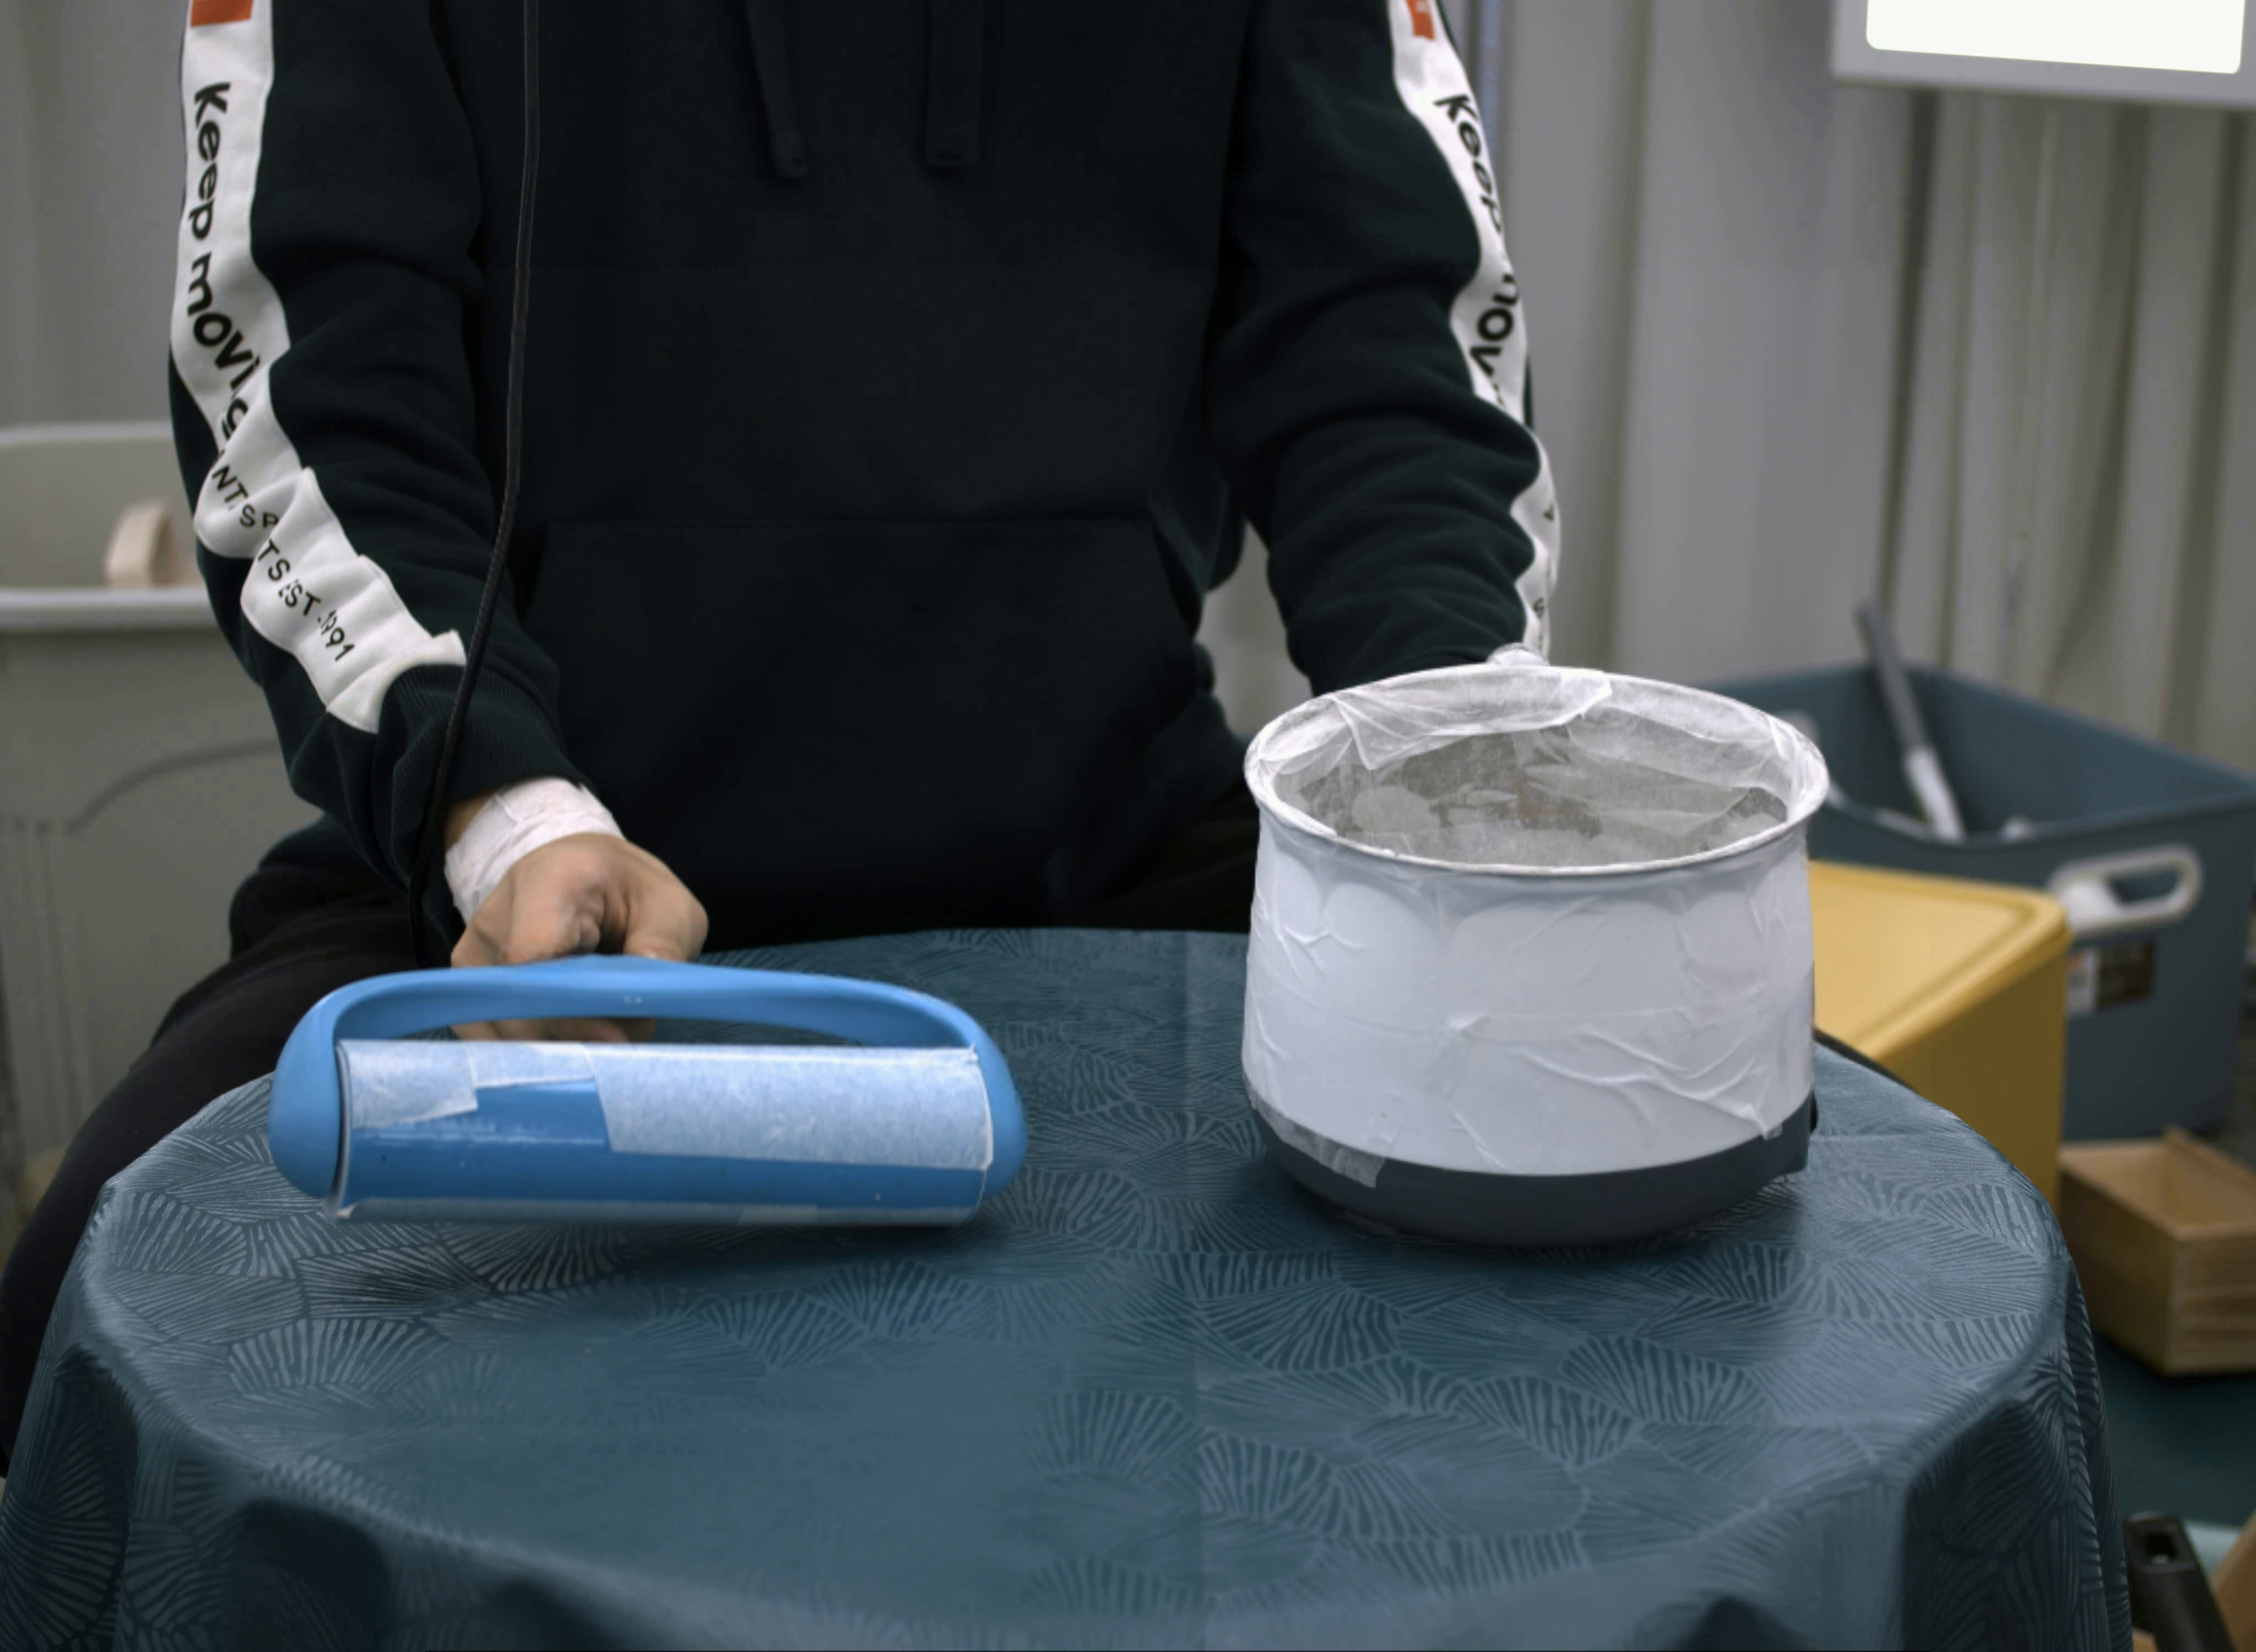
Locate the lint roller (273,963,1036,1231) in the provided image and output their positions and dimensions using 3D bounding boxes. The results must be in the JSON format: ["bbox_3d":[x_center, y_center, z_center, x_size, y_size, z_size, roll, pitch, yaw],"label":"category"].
[{"bbox_3d":[-0.157,0.072,1.596,0.230,0.068,0.178,-1,18,-22],"label":"lint roller"}]

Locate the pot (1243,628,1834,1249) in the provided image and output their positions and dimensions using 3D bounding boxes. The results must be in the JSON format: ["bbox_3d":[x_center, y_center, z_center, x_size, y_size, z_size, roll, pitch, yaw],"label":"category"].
[{"bbox_3d":[0.123,0.028,1.631,0.178,0.138,0.232,0,23,-1],"label":"pot"}]
